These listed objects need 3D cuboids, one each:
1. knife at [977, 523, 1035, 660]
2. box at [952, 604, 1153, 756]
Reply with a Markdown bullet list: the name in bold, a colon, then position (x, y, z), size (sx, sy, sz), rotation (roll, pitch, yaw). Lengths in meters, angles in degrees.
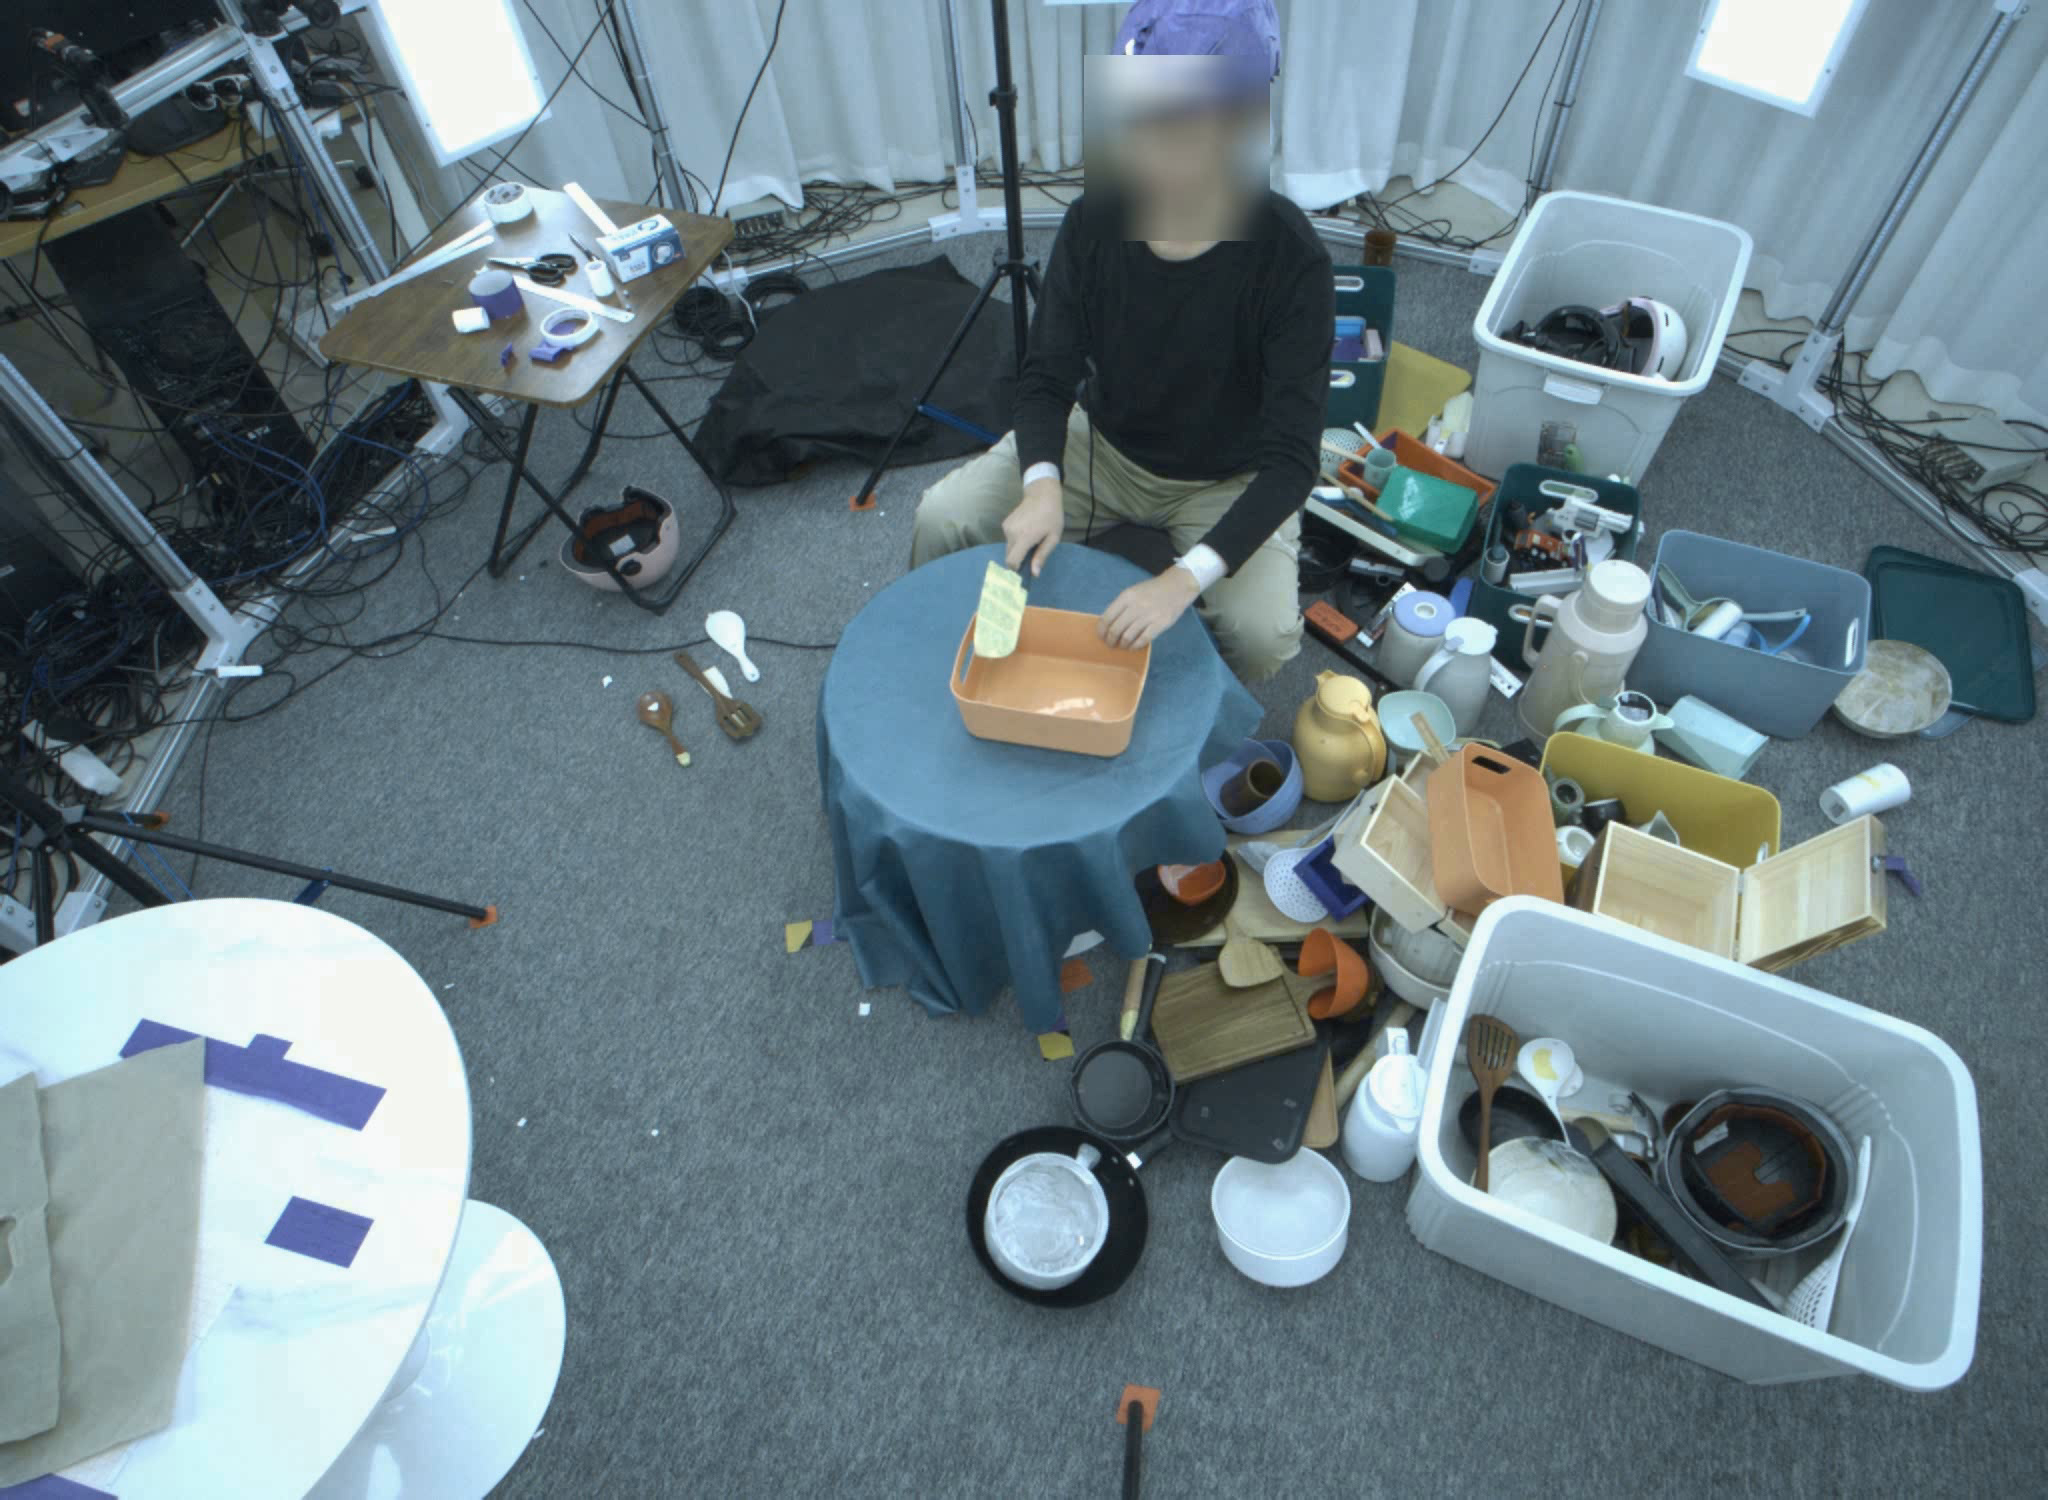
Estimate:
- **knife**: position (-0.026, -0.241, 1.812), size (0.082, 0.027, 0.288), rotation (35, 48, -27)
- **box**: position (0.045, -0.100, 1.793), size (0.271, 0.103, 0.198), rotation (9, 56, 8)
